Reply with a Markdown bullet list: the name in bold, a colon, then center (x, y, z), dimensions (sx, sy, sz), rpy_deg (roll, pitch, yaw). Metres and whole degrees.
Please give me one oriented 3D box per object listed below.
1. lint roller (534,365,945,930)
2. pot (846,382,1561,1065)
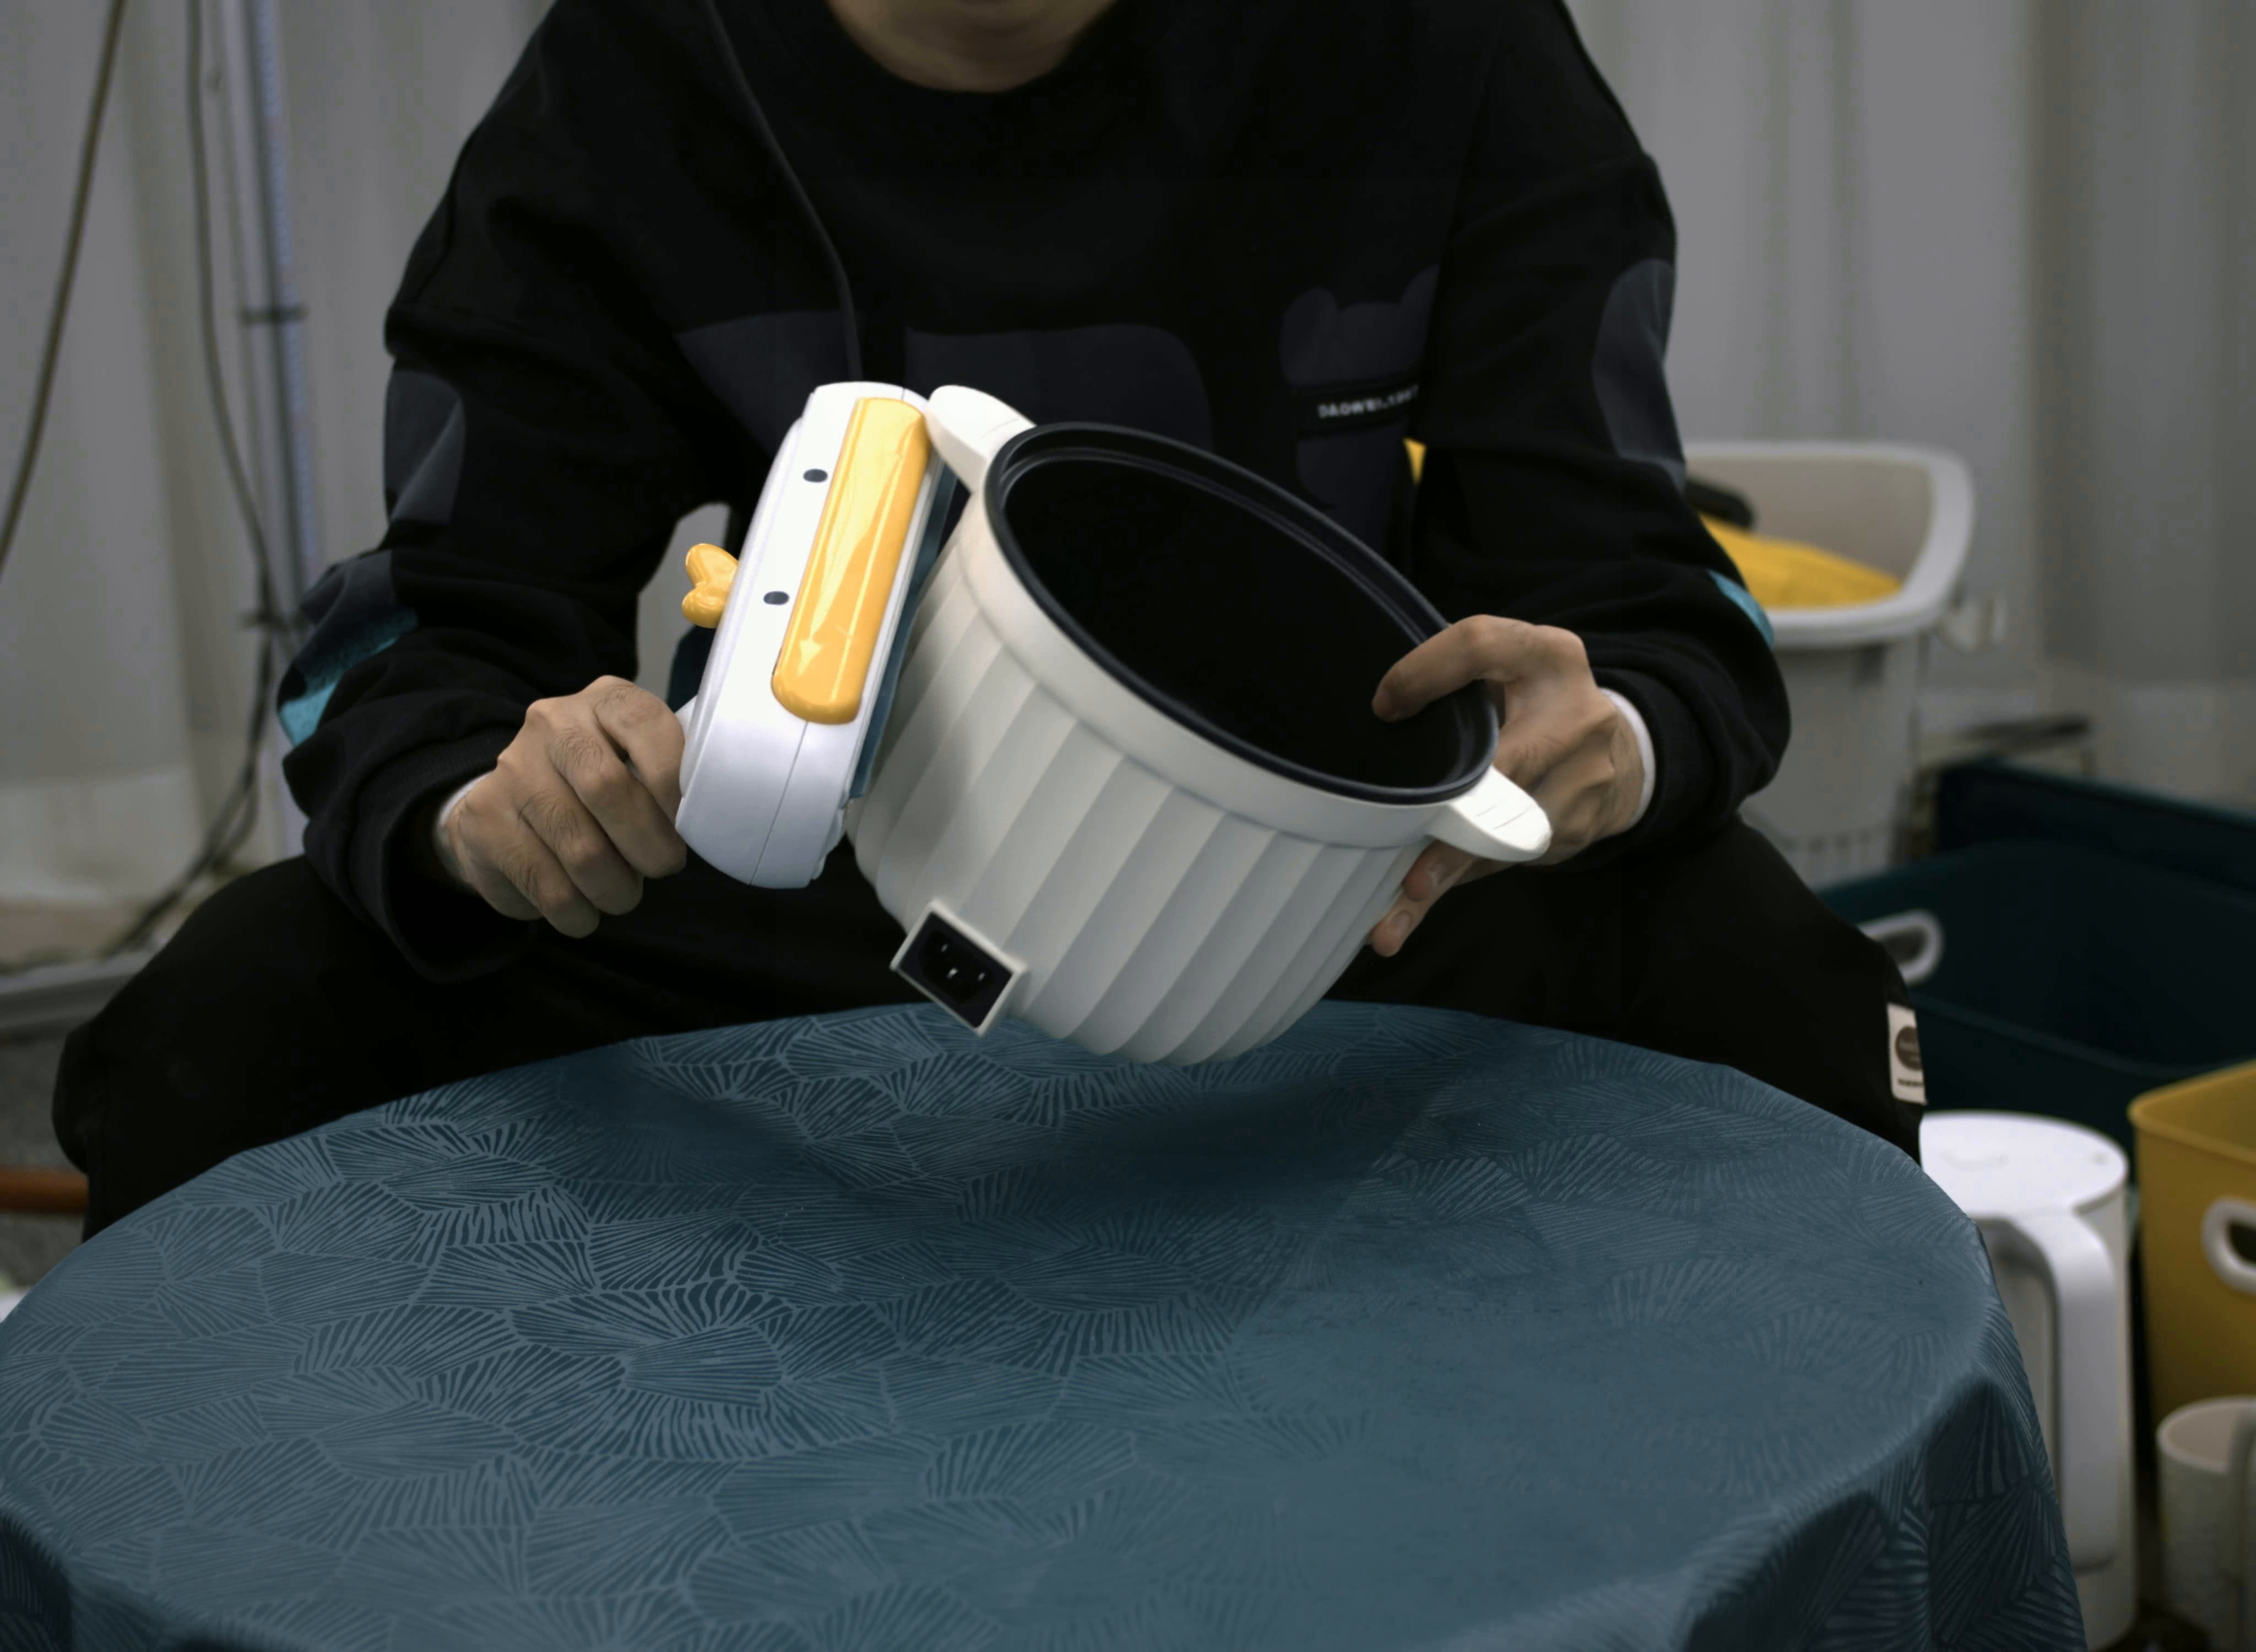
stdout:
- **lint roller**: center (-0.127, -0.032, 1.730), dimensions (0.073, 0.191, 0.196), rpy_deg (22, 40, -14)
- **pot**: center (0.008, -0.022, 1.725), dimensions (0.241, 0.141, 0.191), rpy_deg (38, 29, 8)
